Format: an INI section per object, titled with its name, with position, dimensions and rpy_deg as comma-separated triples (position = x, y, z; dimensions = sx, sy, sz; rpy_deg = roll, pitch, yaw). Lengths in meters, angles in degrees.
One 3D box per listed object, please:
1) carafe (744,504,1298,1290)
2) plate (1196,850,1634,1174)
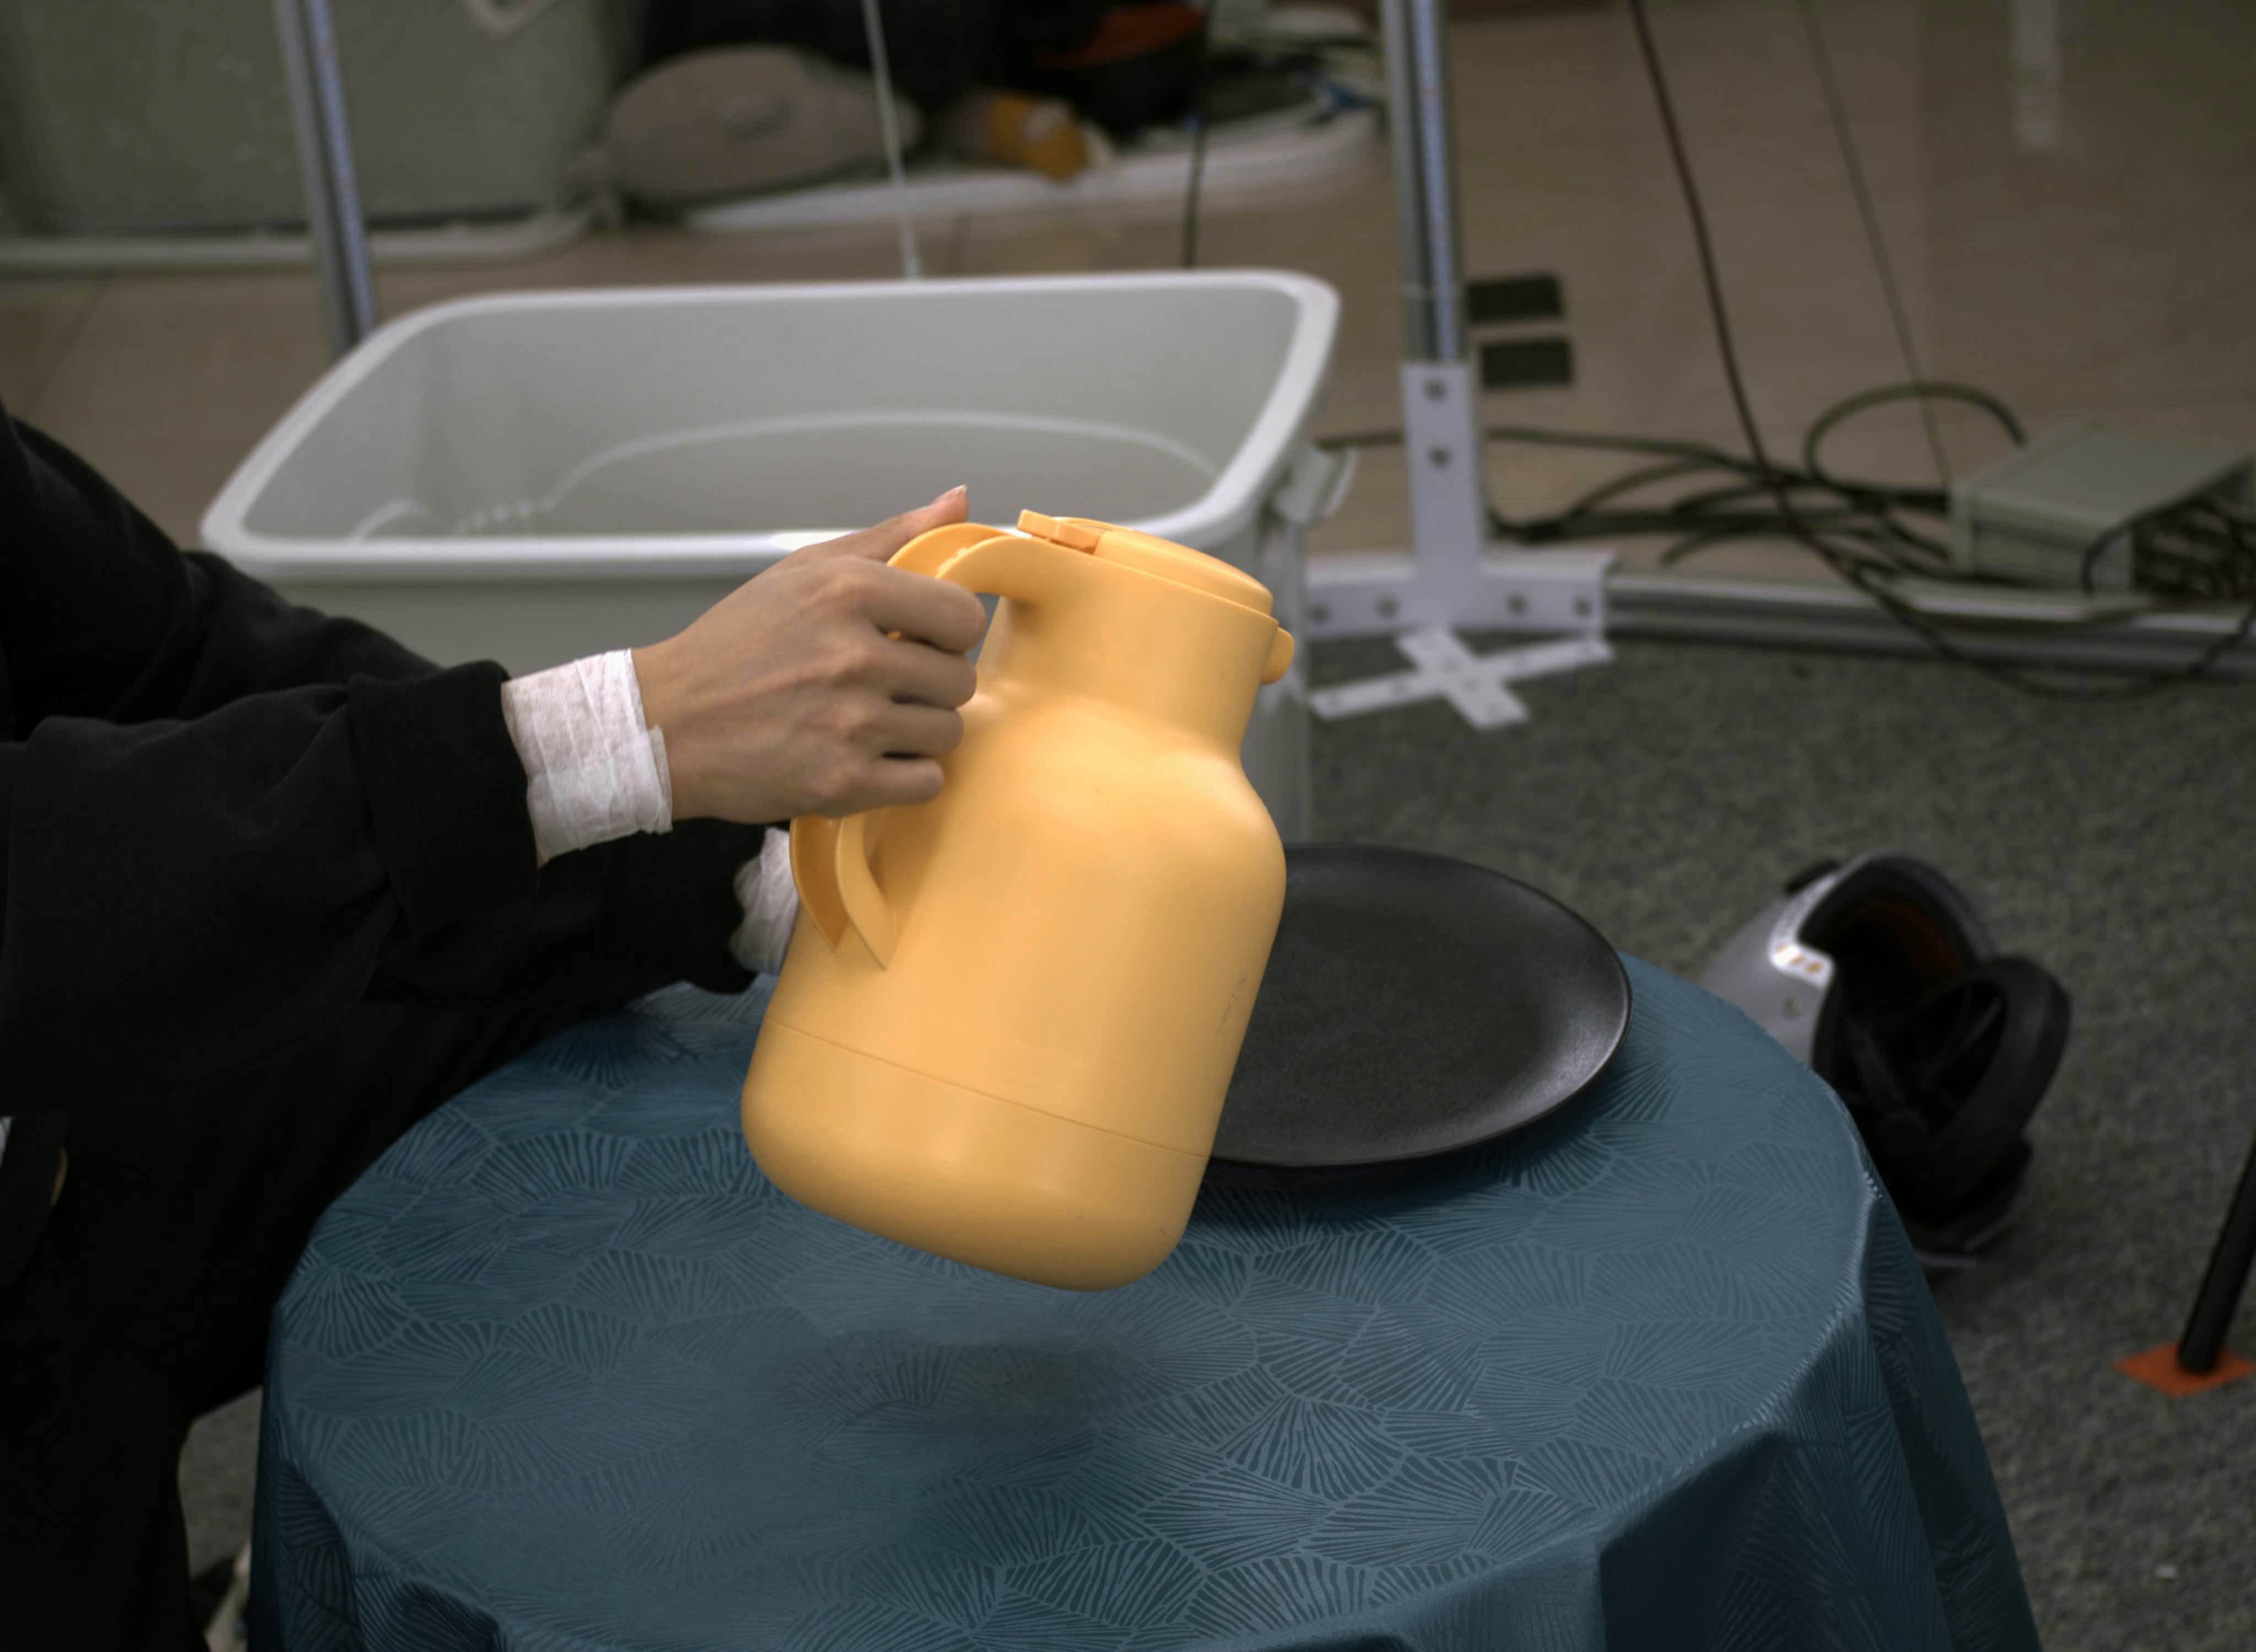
[carafe]
position = -0.041, 0.018, 1.968
dimensions = 0.162, 0.260, 0.203
rpy_deg = 15, -2, 45
[plate]
position = 0.076, 0.076, 2.215
dimensions = 0.244, 0.024, 0.240
rpy_deg = -1, 29, 1
